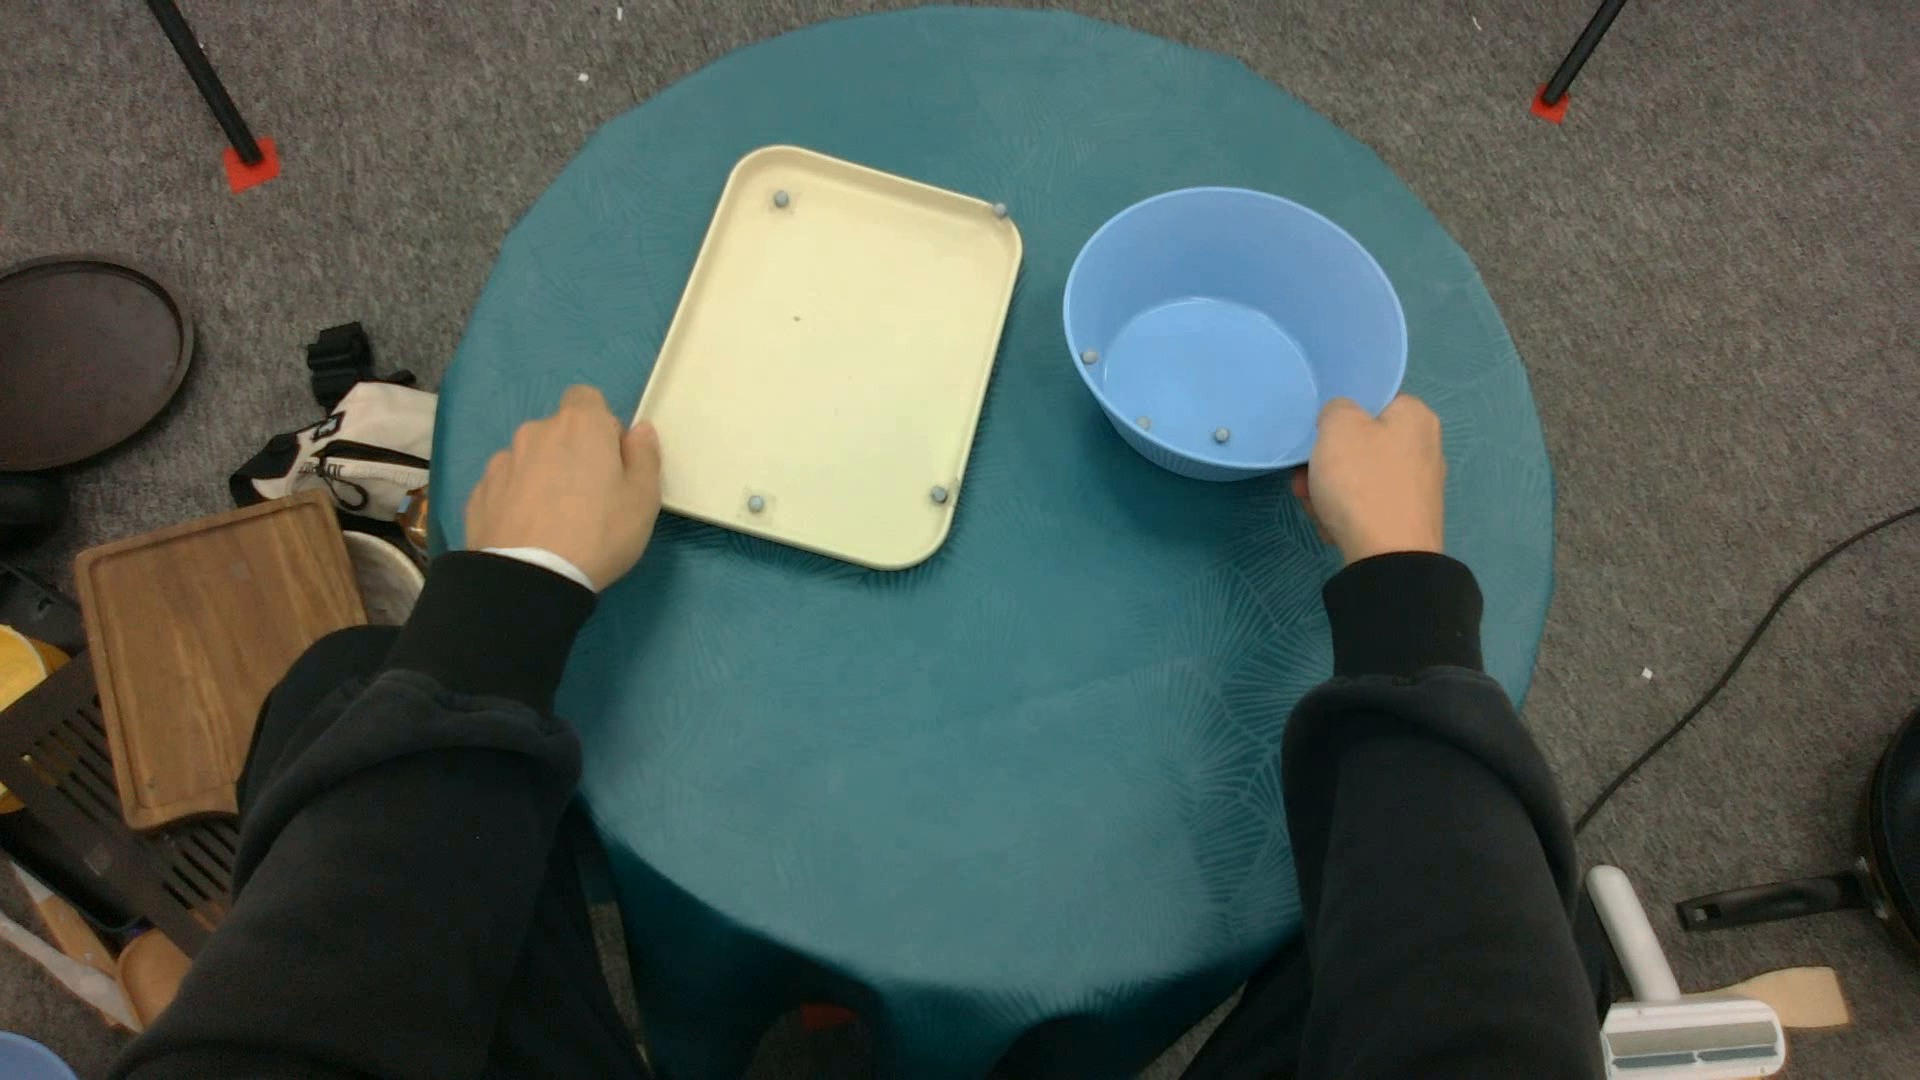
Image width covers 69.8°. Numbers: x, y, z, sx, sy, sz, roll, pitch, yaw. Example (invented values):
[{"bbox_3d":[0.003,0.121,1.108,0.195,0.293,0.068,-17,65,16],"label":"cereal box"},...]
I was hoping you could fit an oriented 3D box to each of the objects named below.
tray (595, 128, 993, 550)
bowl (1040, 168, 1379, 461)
[{"bbox_3d":[-0.083,-0.113,0.739,0.171,0.017,0.240,15,64,-2],"label":"tray"},{"bbox_3d":[0.127,-0.109,0.734,0.176,0.070,0.177,2,63,-3],"label":"bowl"}]
